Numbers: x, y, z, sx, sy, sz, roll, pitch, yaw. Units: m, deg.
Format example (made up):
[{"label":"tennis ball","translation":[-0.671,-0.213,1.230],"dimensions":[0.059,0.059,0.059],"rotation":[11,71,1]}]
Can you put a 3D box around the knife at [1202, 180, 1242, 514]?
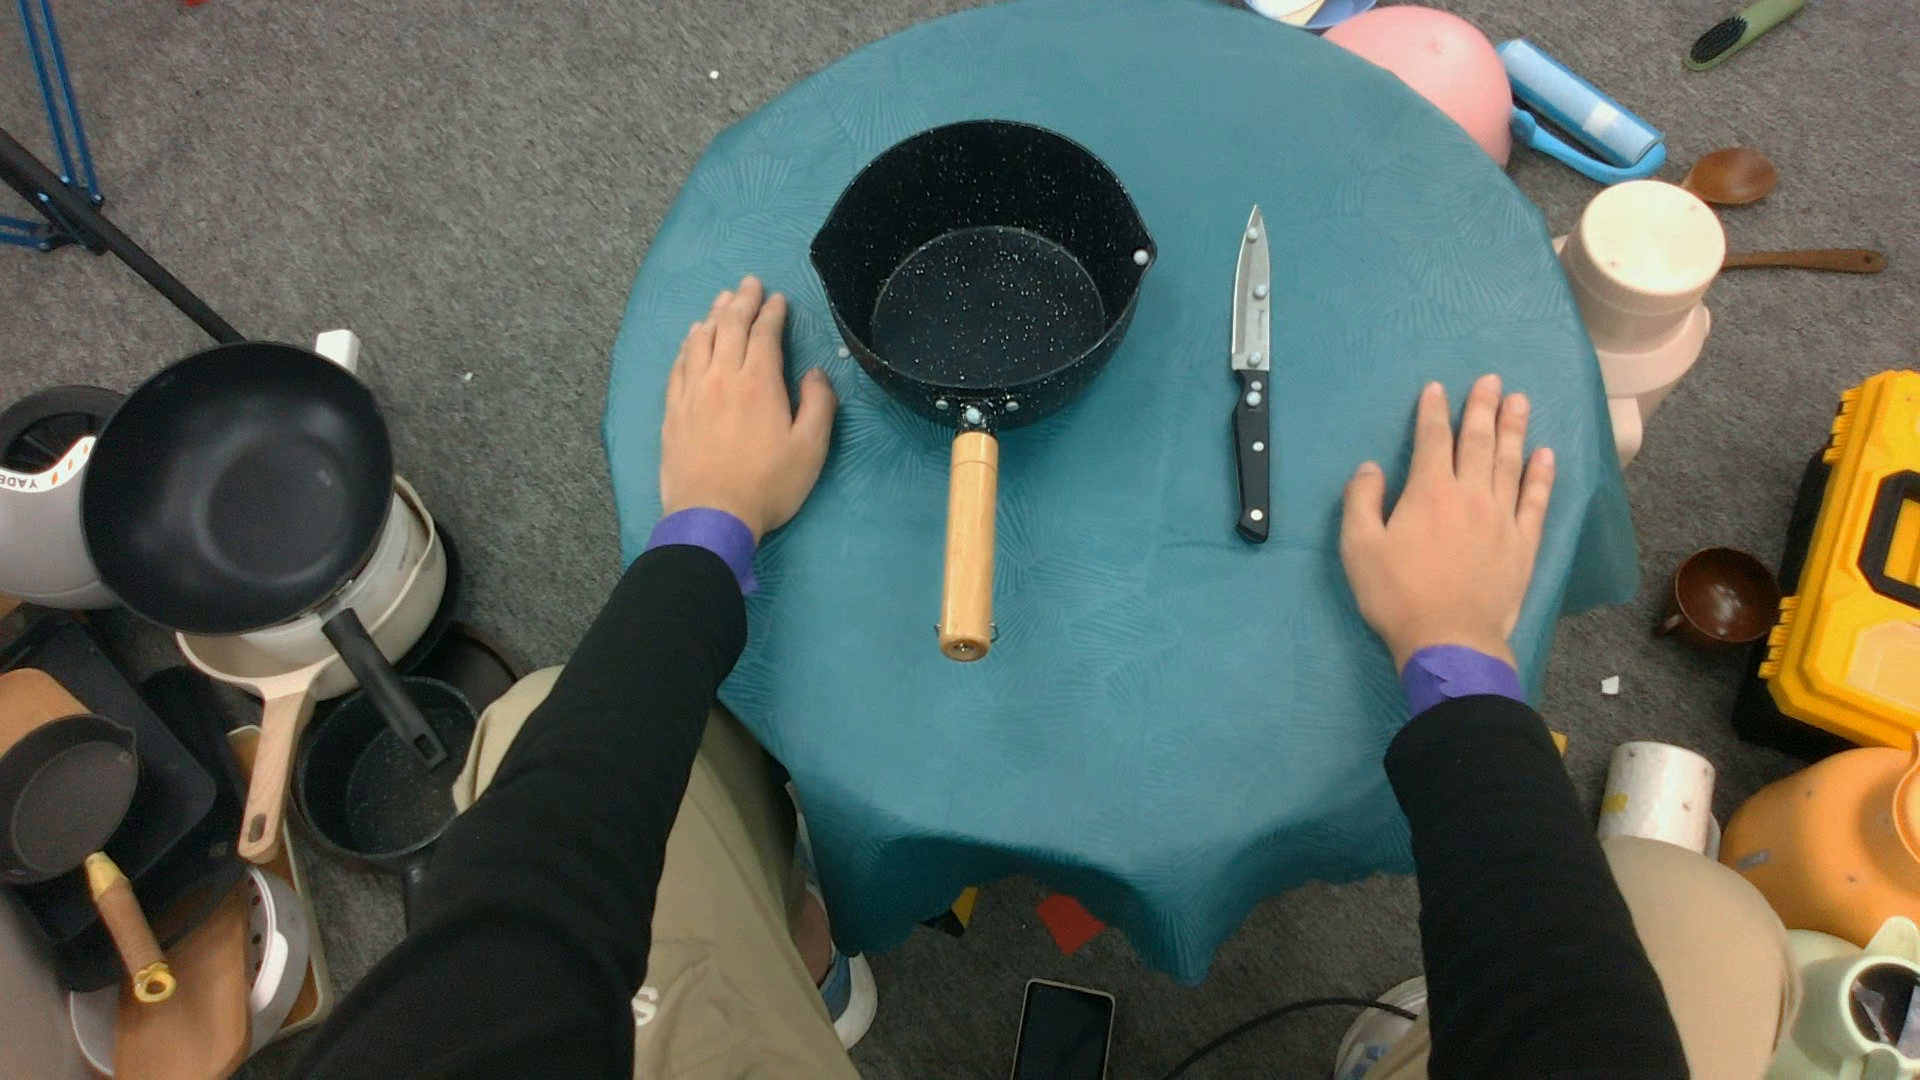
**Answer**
[{"label":"knife","translation":[0.159,-0.124,0.834],"dimensions":[0.024,0.016,0.239],"rotation":[2,65,5]}]

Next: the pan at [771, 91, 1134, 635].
[{"label":"pan","translation":[-0.005,-0.096,0.779],"dimensions":[0.207,0.108,0.344],"rotation":[0,66,2]}]
